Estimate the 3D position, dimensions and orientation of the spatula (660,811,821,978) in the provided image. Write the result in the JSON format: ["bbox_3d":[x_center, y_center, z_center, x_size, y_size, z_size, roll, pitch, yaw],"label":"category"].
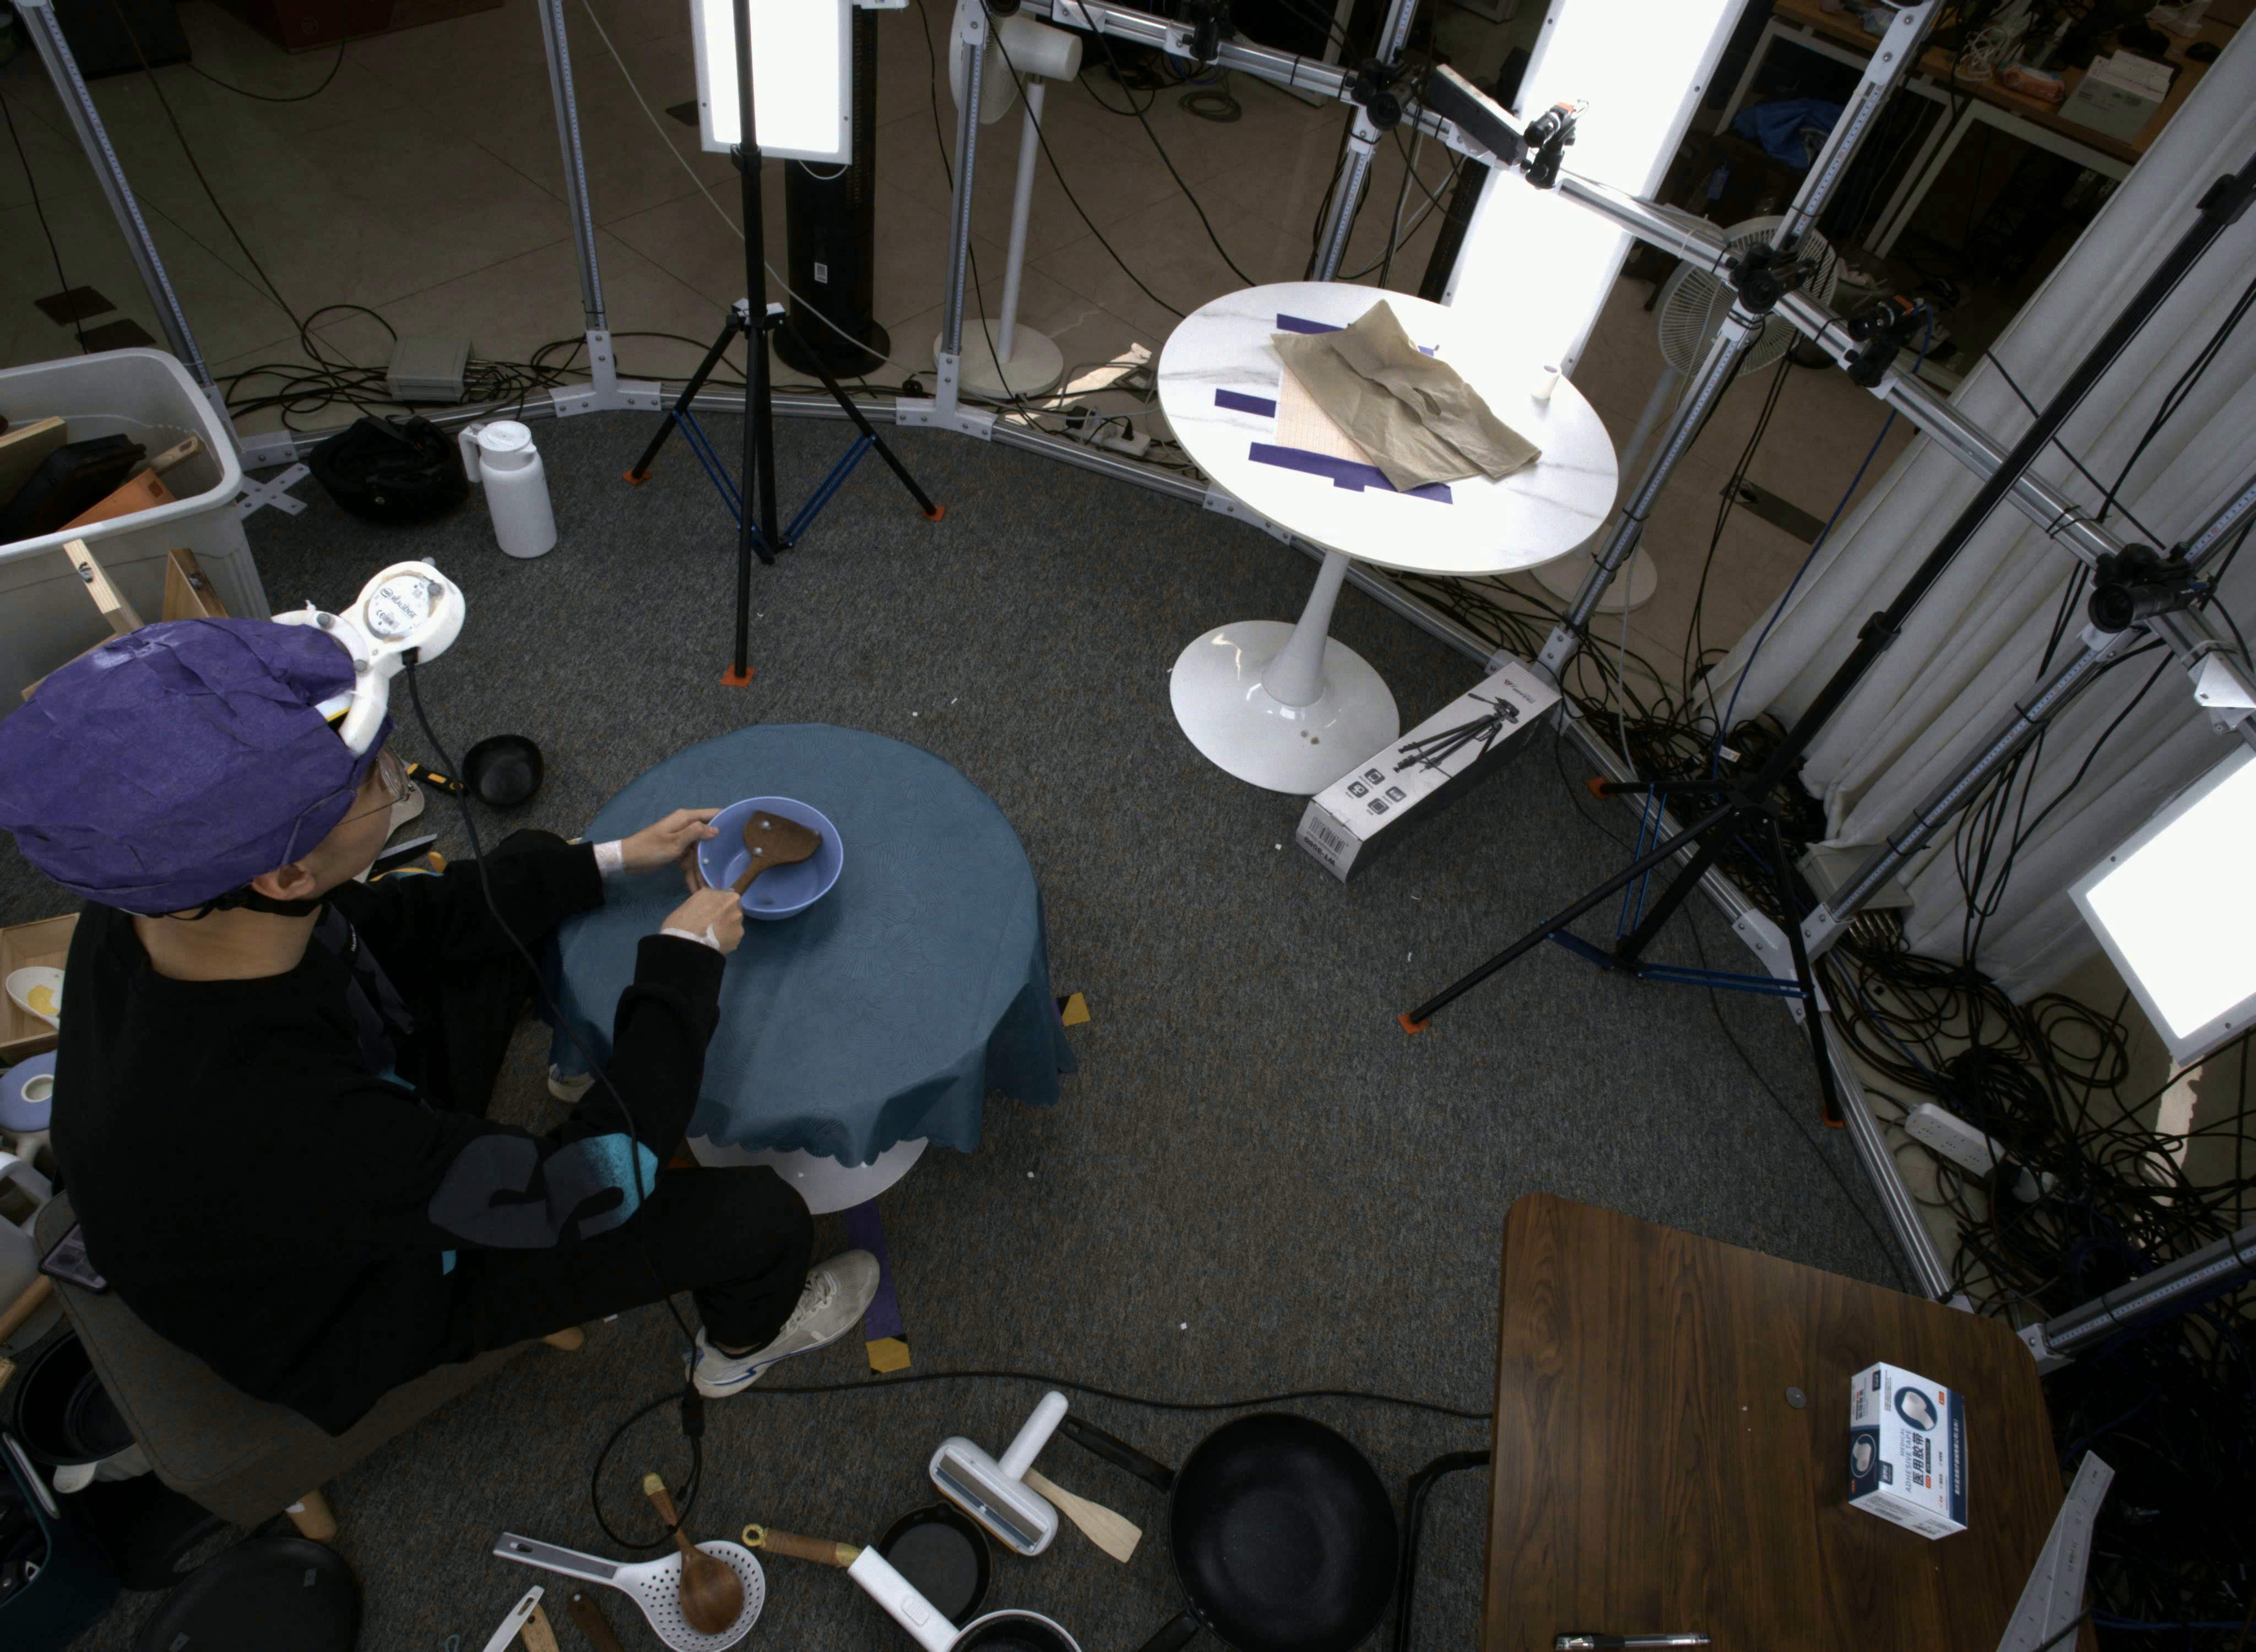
[{"bbox_3d":[-0.455,0.072,1.500,0.096,0.016,0.380,25,24,-5],"label":"spatula"}]

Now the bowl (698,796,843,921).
[{"bbox_3d":[-0.449,0.051,1.633,0.176,0.071,0.173,8,54,-9],"label":"bowl"}]
